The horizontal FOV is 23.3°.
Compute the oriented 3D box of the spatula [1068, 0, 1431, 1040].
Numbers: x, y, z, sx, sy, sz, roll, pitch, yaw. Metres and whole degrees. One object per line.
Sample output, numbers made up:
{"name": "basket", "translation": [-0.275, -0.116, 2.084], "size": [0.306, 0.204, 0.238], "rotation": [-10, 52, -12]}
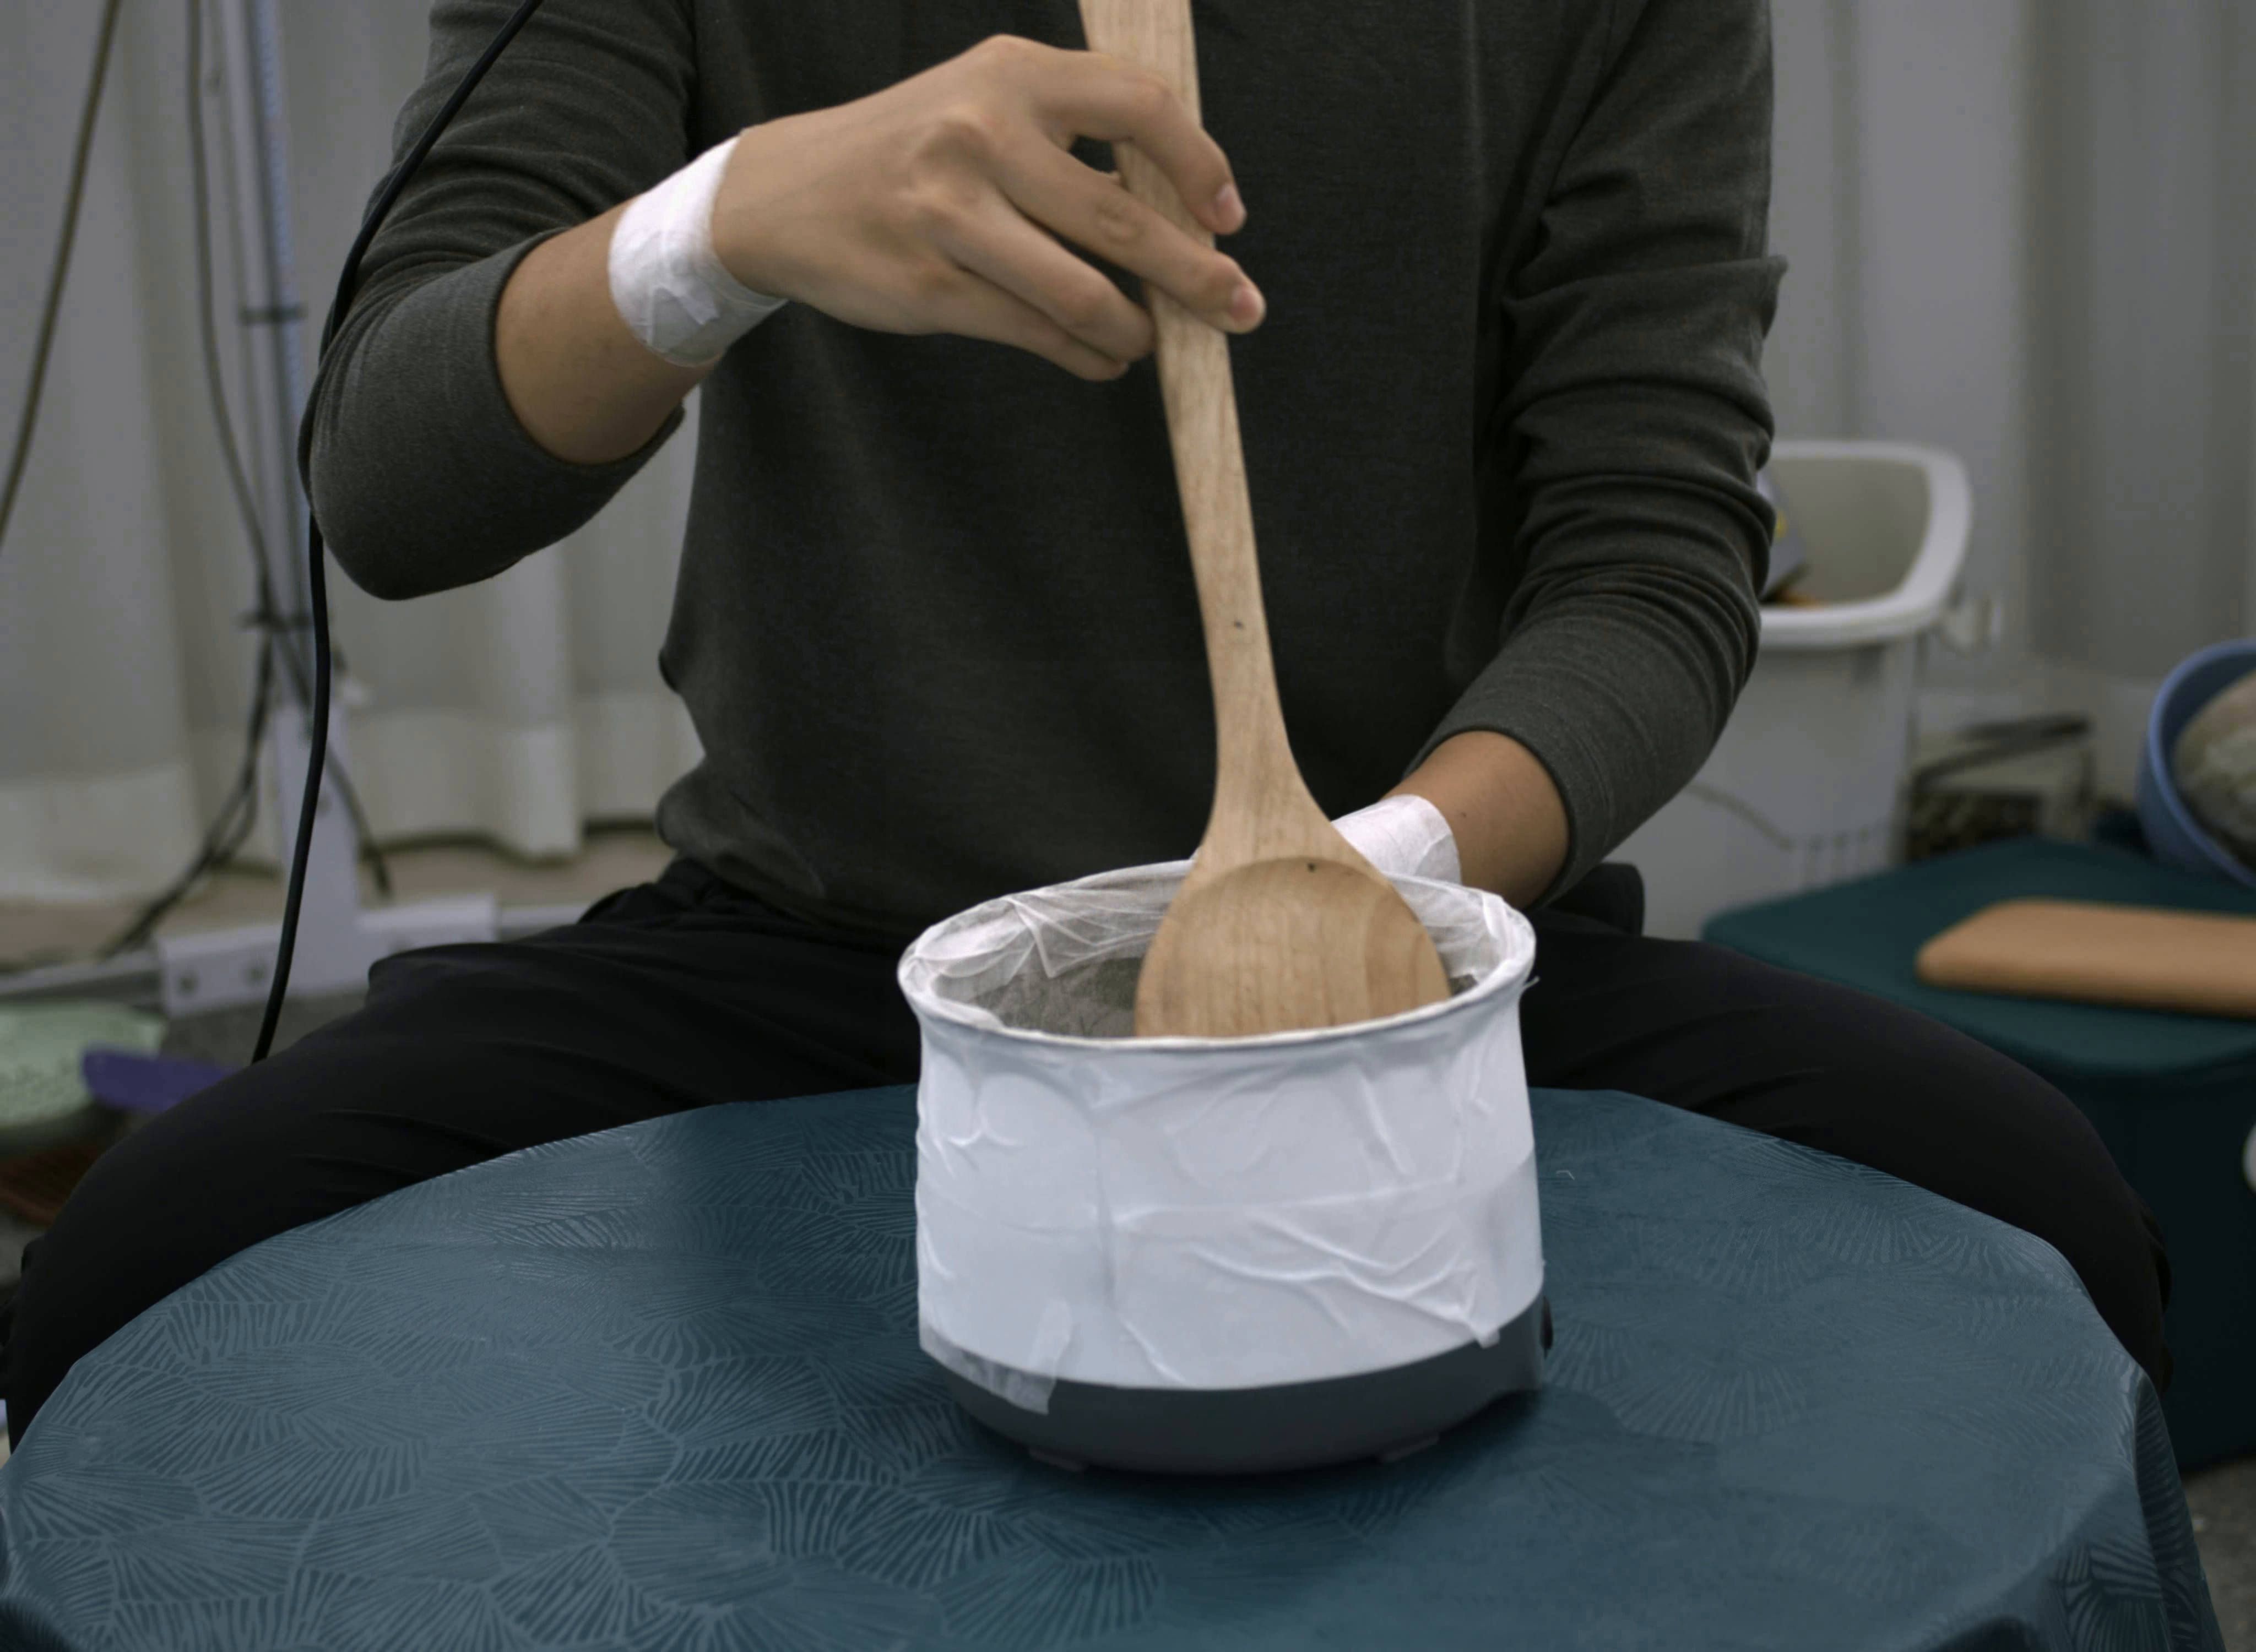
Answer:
{"name": "spatula", "translation": [0.017, -0.091, 1.538], "size": [0.095, 0.391, 0.018], "rotation": [-9, 4, -8]}

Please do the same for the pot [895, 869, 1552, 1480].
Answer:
{"name": "pot", "translation": [0.028, 0.089, 1.549], "size": [0.178, 0.136, 0.235], "rotation": [-3, 14, 2]}
